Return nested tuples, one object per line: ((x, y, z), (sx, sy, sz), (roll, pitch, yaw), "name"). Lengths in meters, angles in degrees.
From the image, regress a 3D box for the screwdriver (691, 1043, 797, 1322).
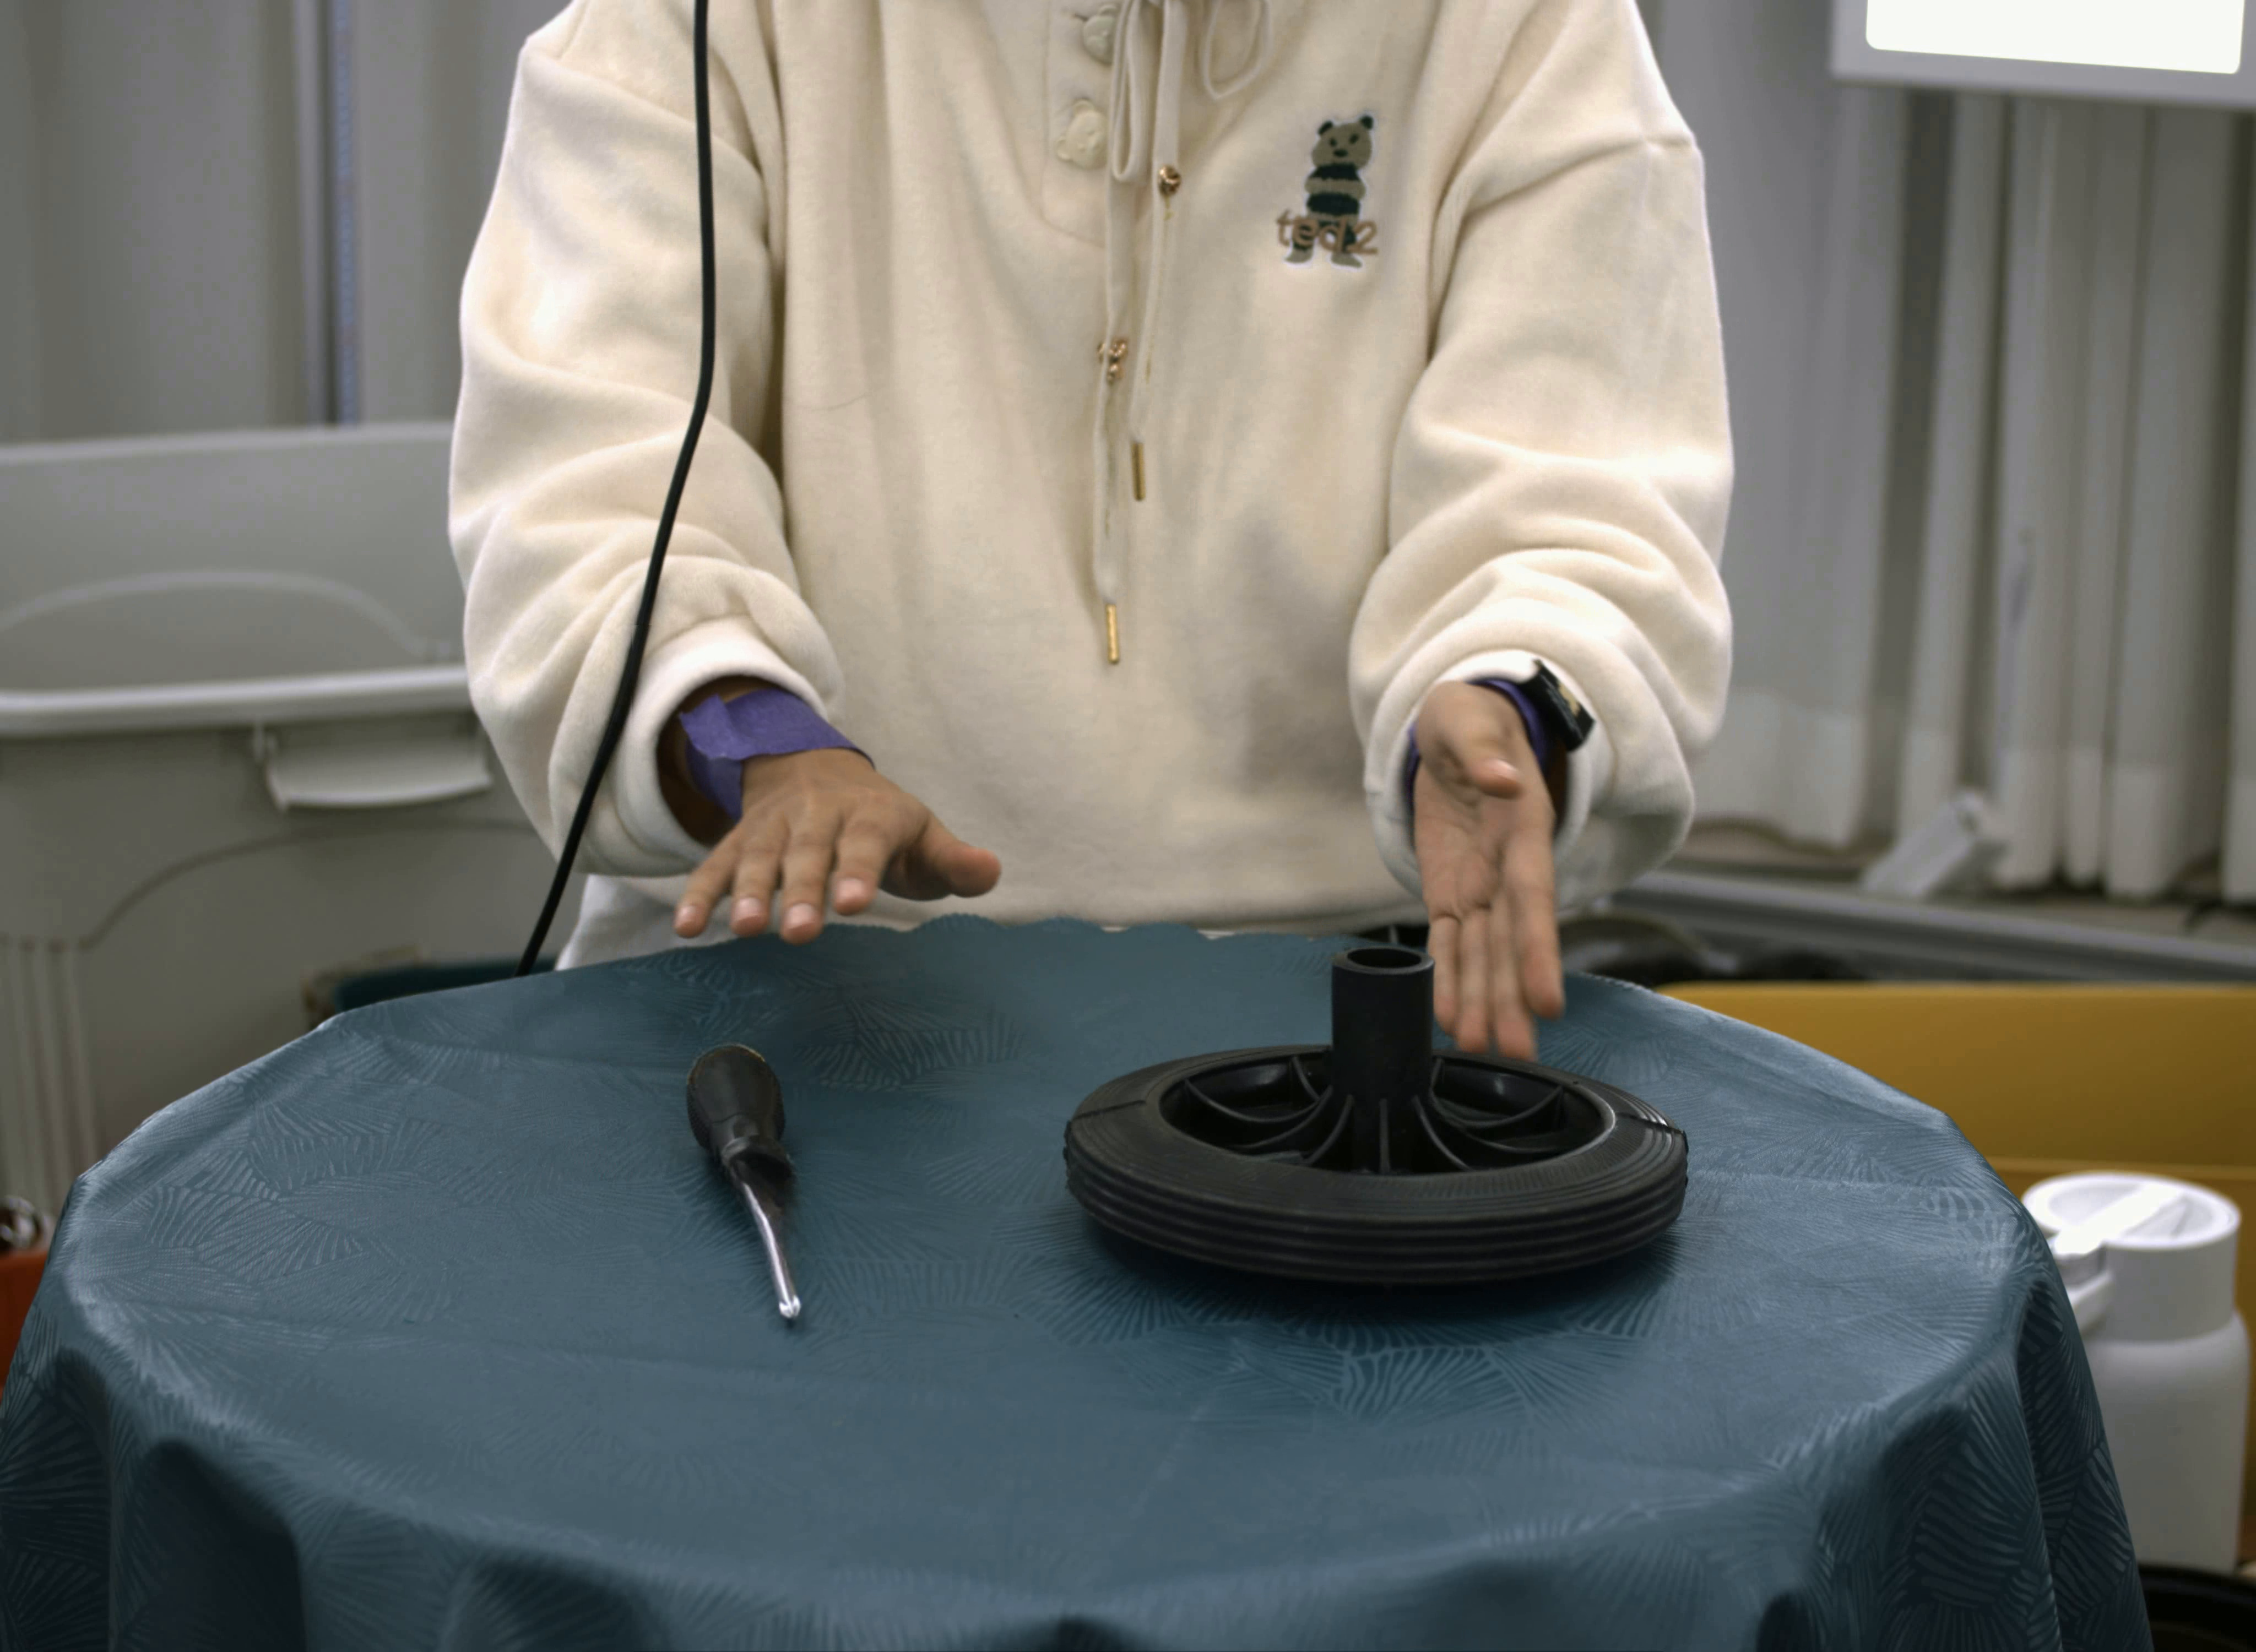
((-0.108, 0.107, 1.590), (0.031, 0.032, 0.194), (-3, 18, -12), "screwdriver")

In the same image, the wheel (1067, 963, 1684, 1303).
((0.074, 0.083, 1.586), (0.185, 0.080, 0.190), (11, 18, 34), "wheel")
